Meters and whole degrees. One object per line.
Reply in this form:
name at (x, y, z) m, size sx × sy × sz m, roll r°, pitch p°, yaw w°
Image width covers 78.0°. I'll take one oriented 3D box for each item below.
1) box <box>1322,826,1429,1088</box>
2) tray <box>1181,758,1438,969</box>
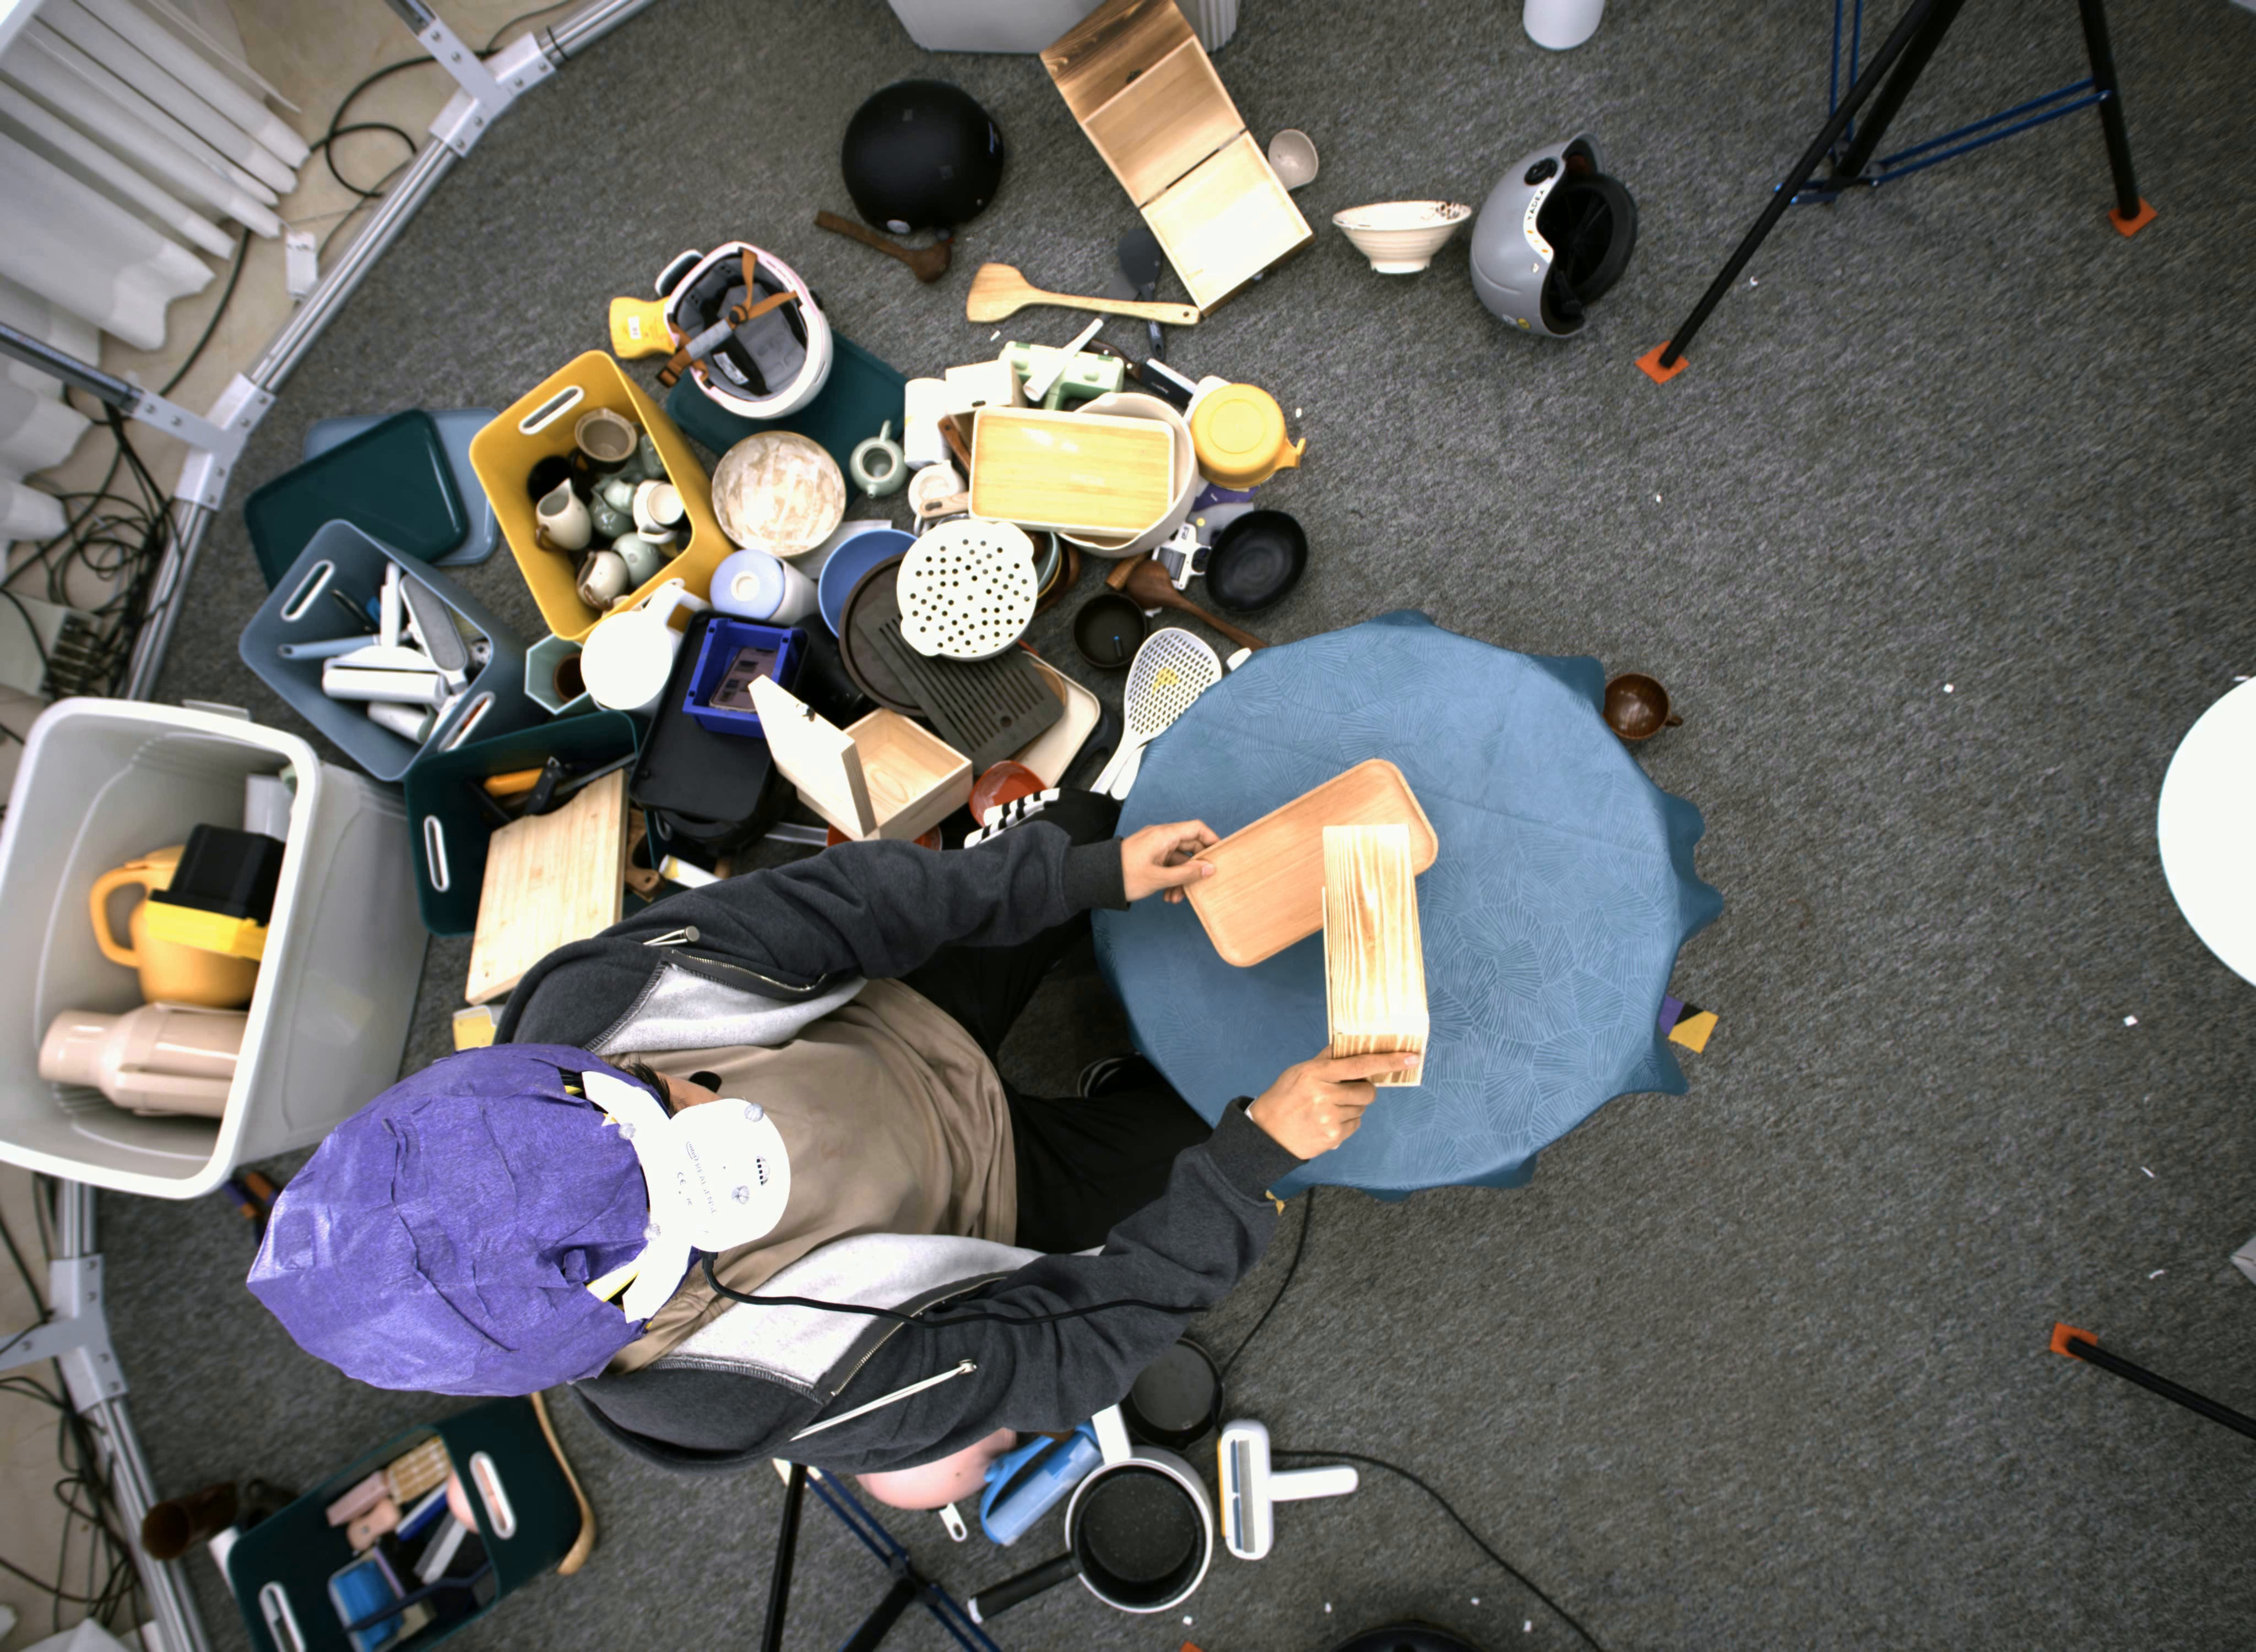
box at (0.218, 0.115, 1.238) m, size 0.080 × 0.110 × 0.206 m, roll -1°, pitch 55°, yaw 6°
tray at (0.183, 0.037, 1.397) m, size 0.251 × 0.023 × 0.130 m, roll -29°, pitch 87°, yaw 3°
